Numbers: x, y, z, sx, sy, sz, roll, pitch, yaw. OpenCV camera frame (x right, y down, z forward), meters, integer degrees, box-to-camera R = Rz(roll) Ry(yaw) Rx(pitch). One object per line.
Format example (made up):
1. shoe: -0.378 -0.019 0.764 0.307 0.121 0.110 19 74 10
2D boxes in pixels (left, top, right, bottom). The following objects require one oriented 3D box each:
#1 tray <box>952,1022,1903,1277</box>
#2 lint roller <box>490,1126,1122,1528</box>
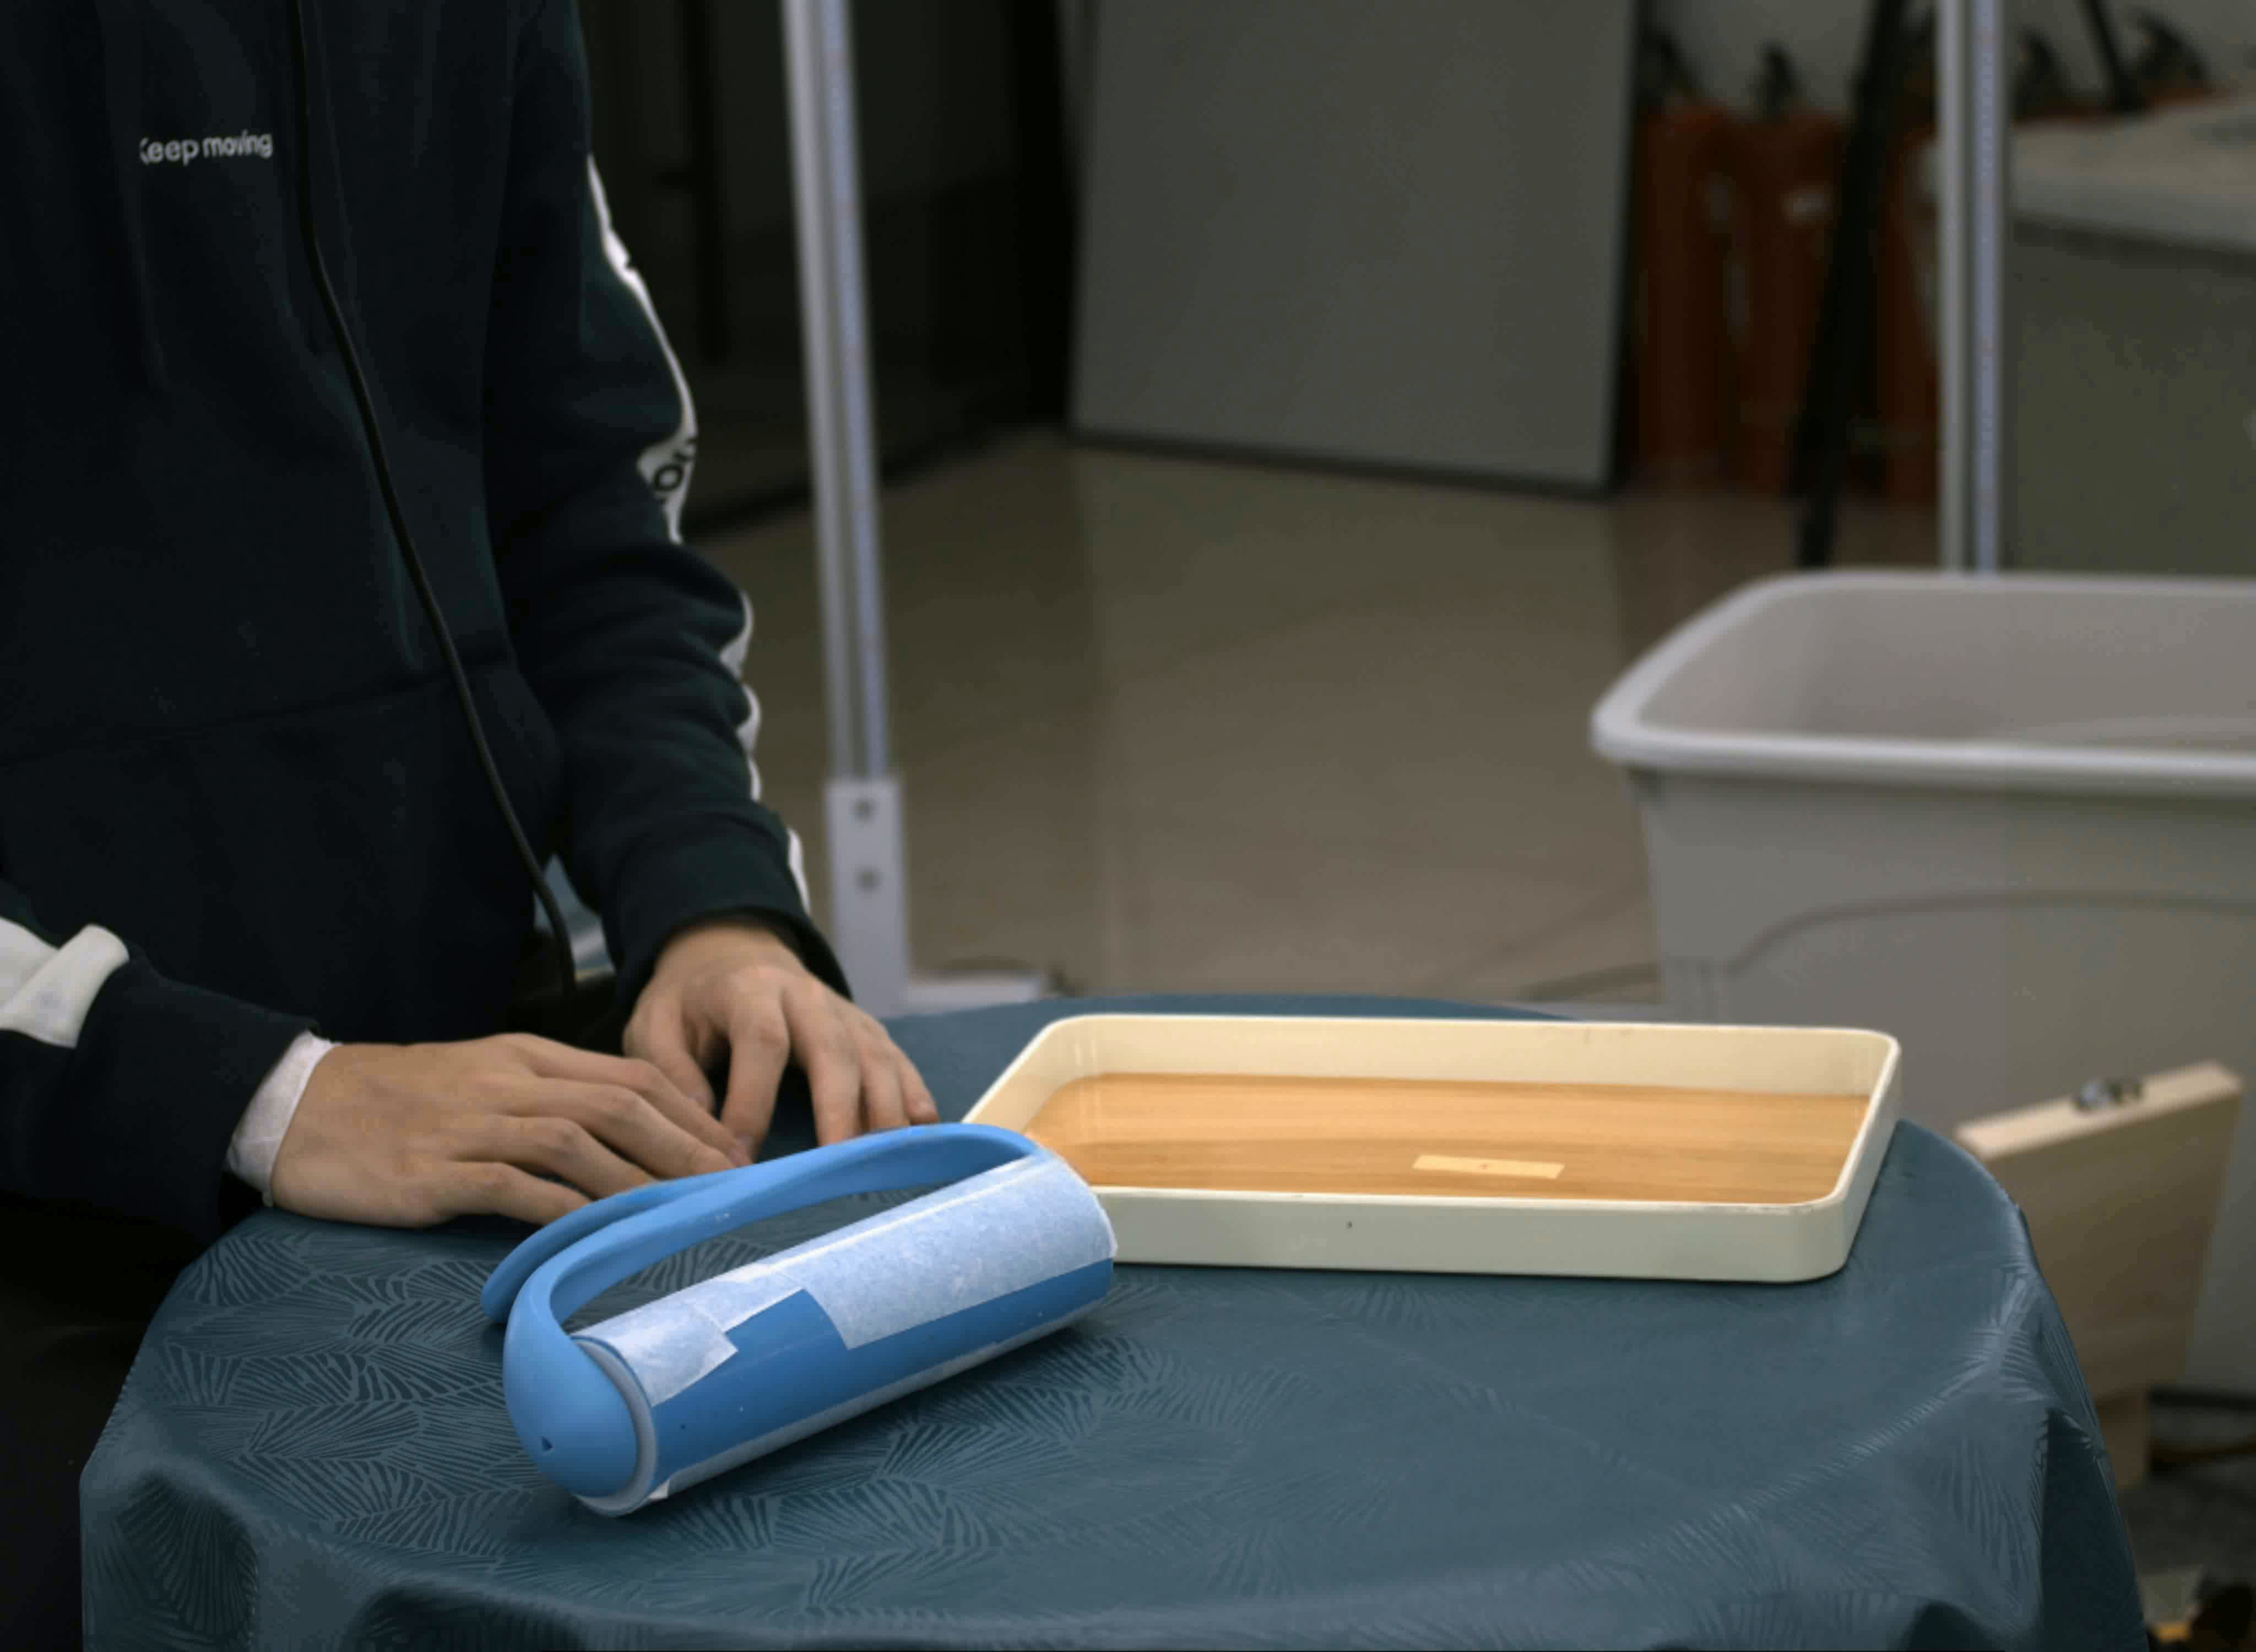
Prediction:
1. tray: 0.096 0.104 1.758 0.299 0.028 0.190 0 14 16
2. lint roller: -0.128 0.141 1.615 0.181 0.068 0.225 8 20 38
